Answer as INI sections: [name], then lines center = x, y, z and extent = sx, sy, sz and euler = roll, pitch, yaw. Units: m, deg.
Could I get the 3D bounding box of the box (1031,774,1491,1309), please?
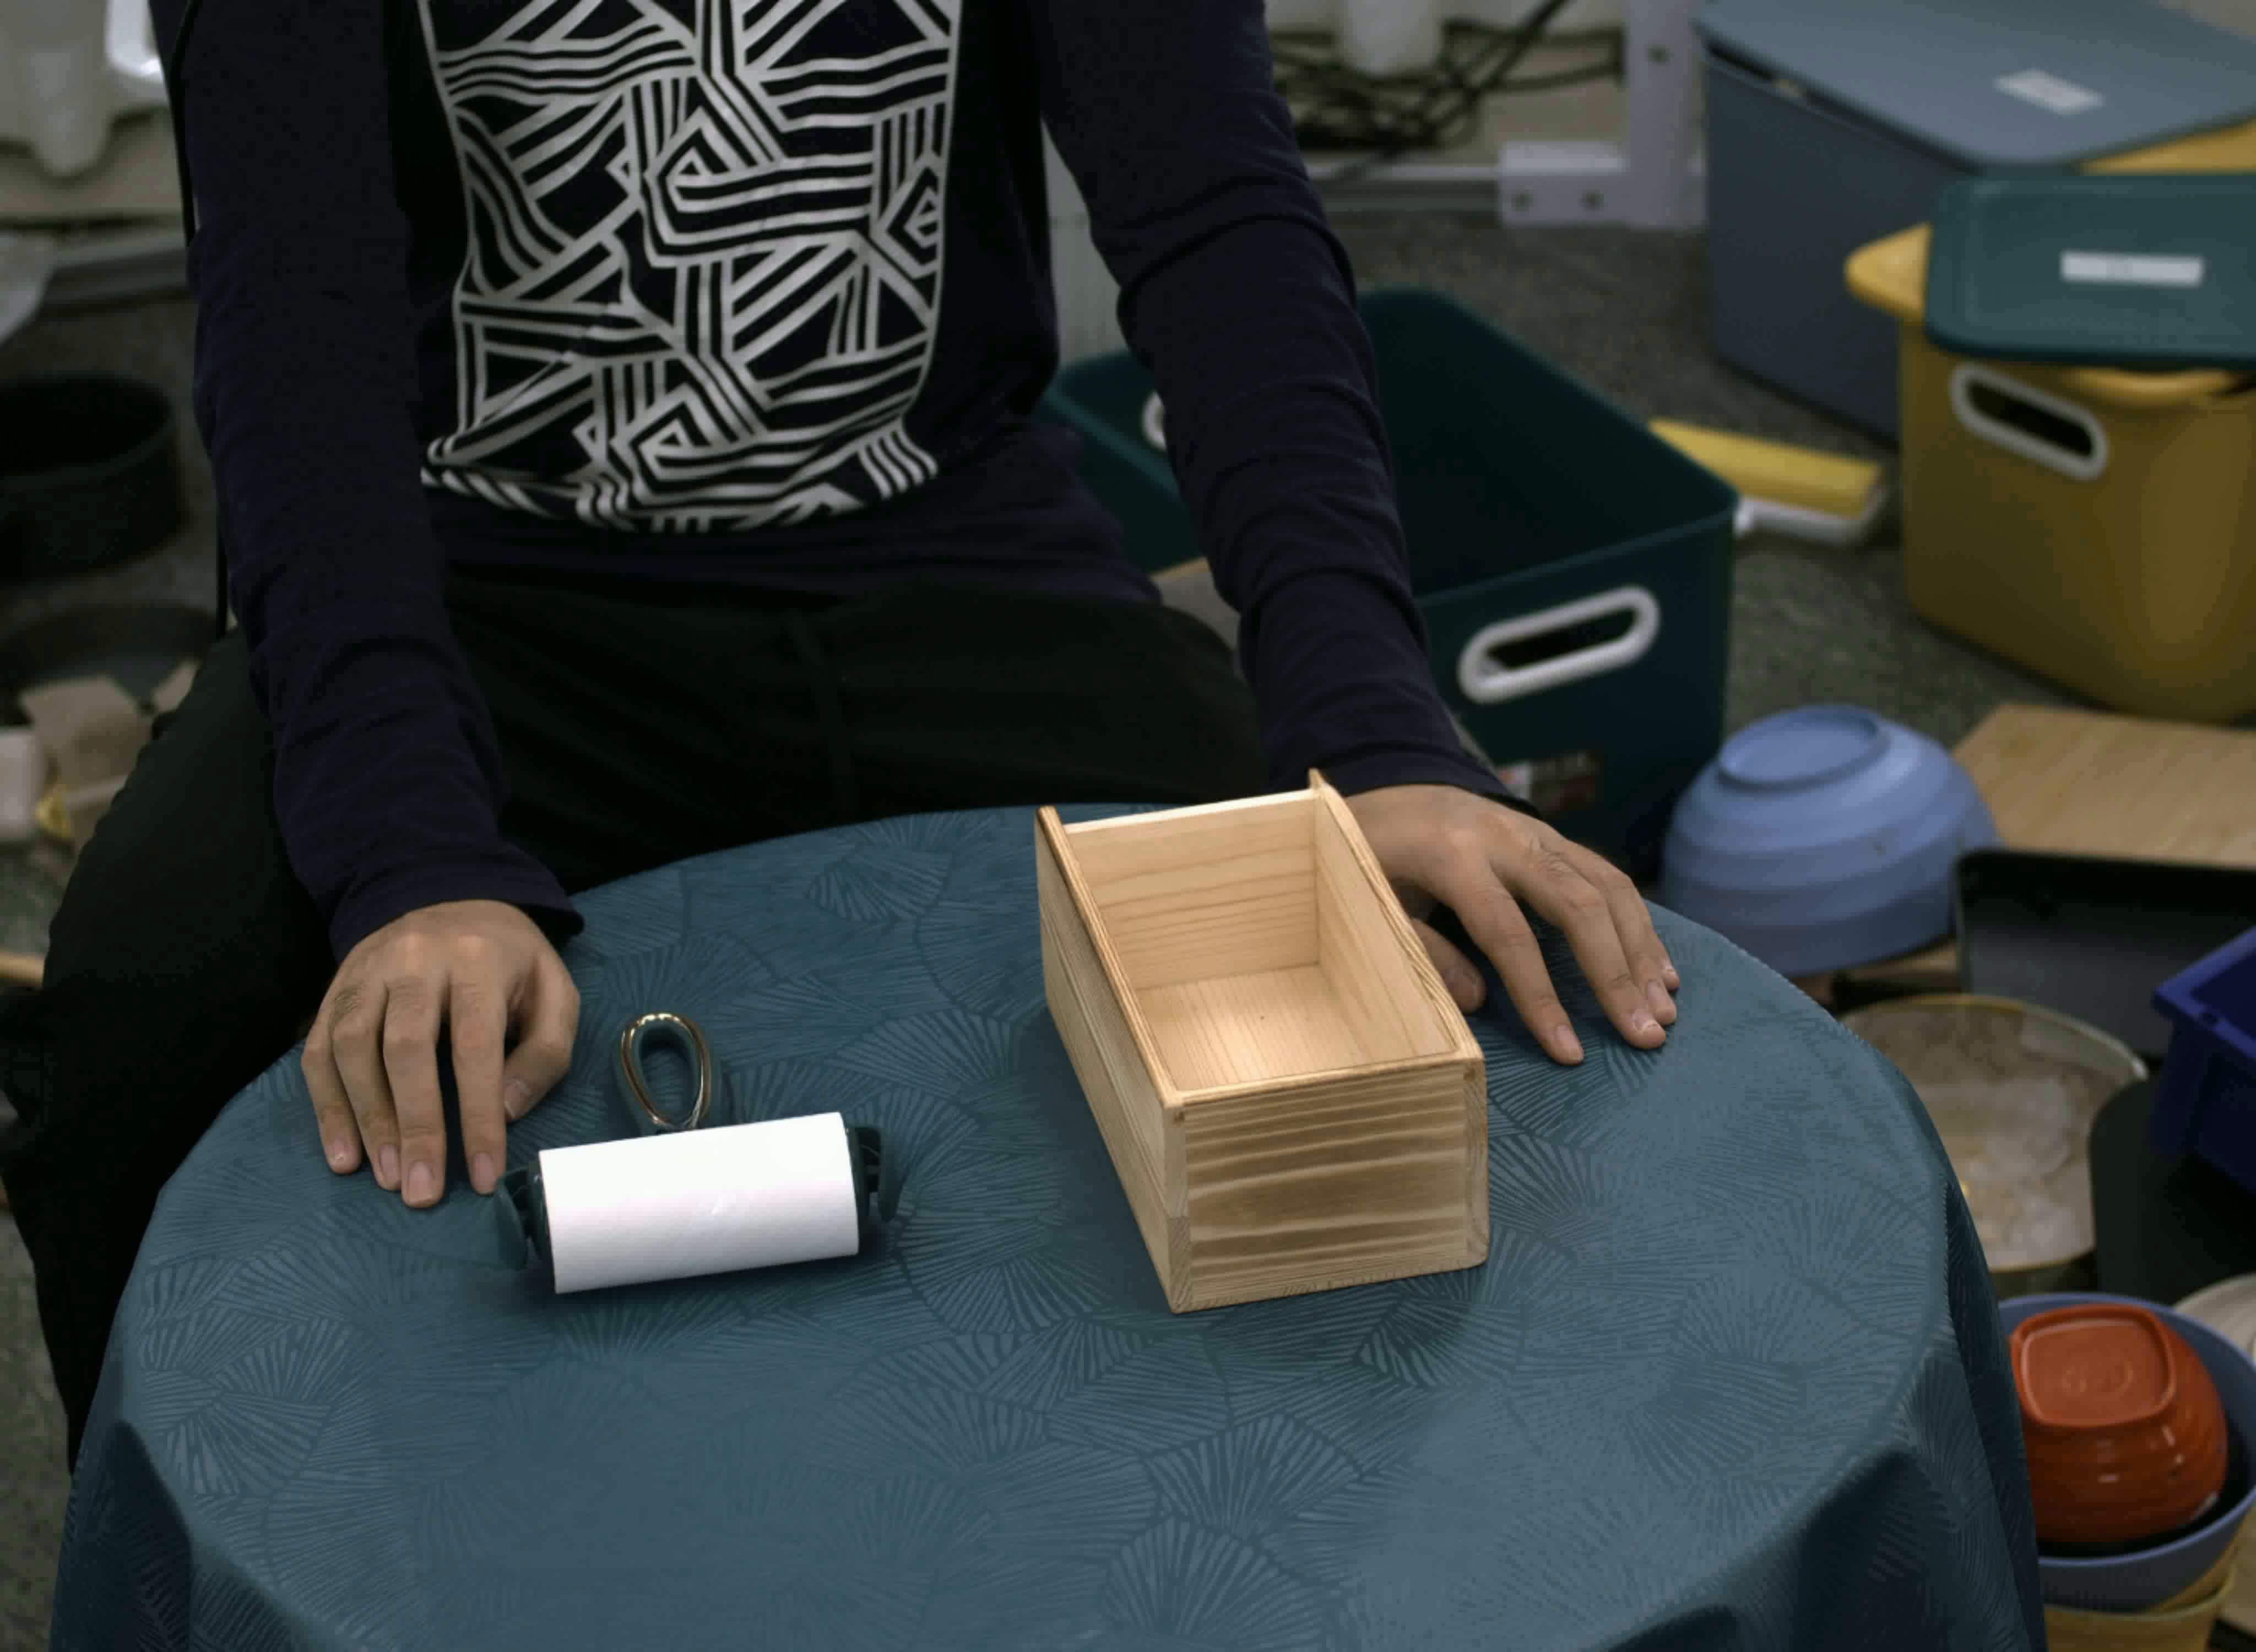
[box]
center = 0.042, 0.069, 1.875
extent = 0.107, 0.079, 0.213
euler = -9, 26, -10

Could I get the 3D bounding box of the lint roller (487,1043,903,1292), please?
[lint roller]
center = -0.152, 0.096, 1.883
extent = 0.134, 0.048, 0.182
euler = -7, 25, -9
